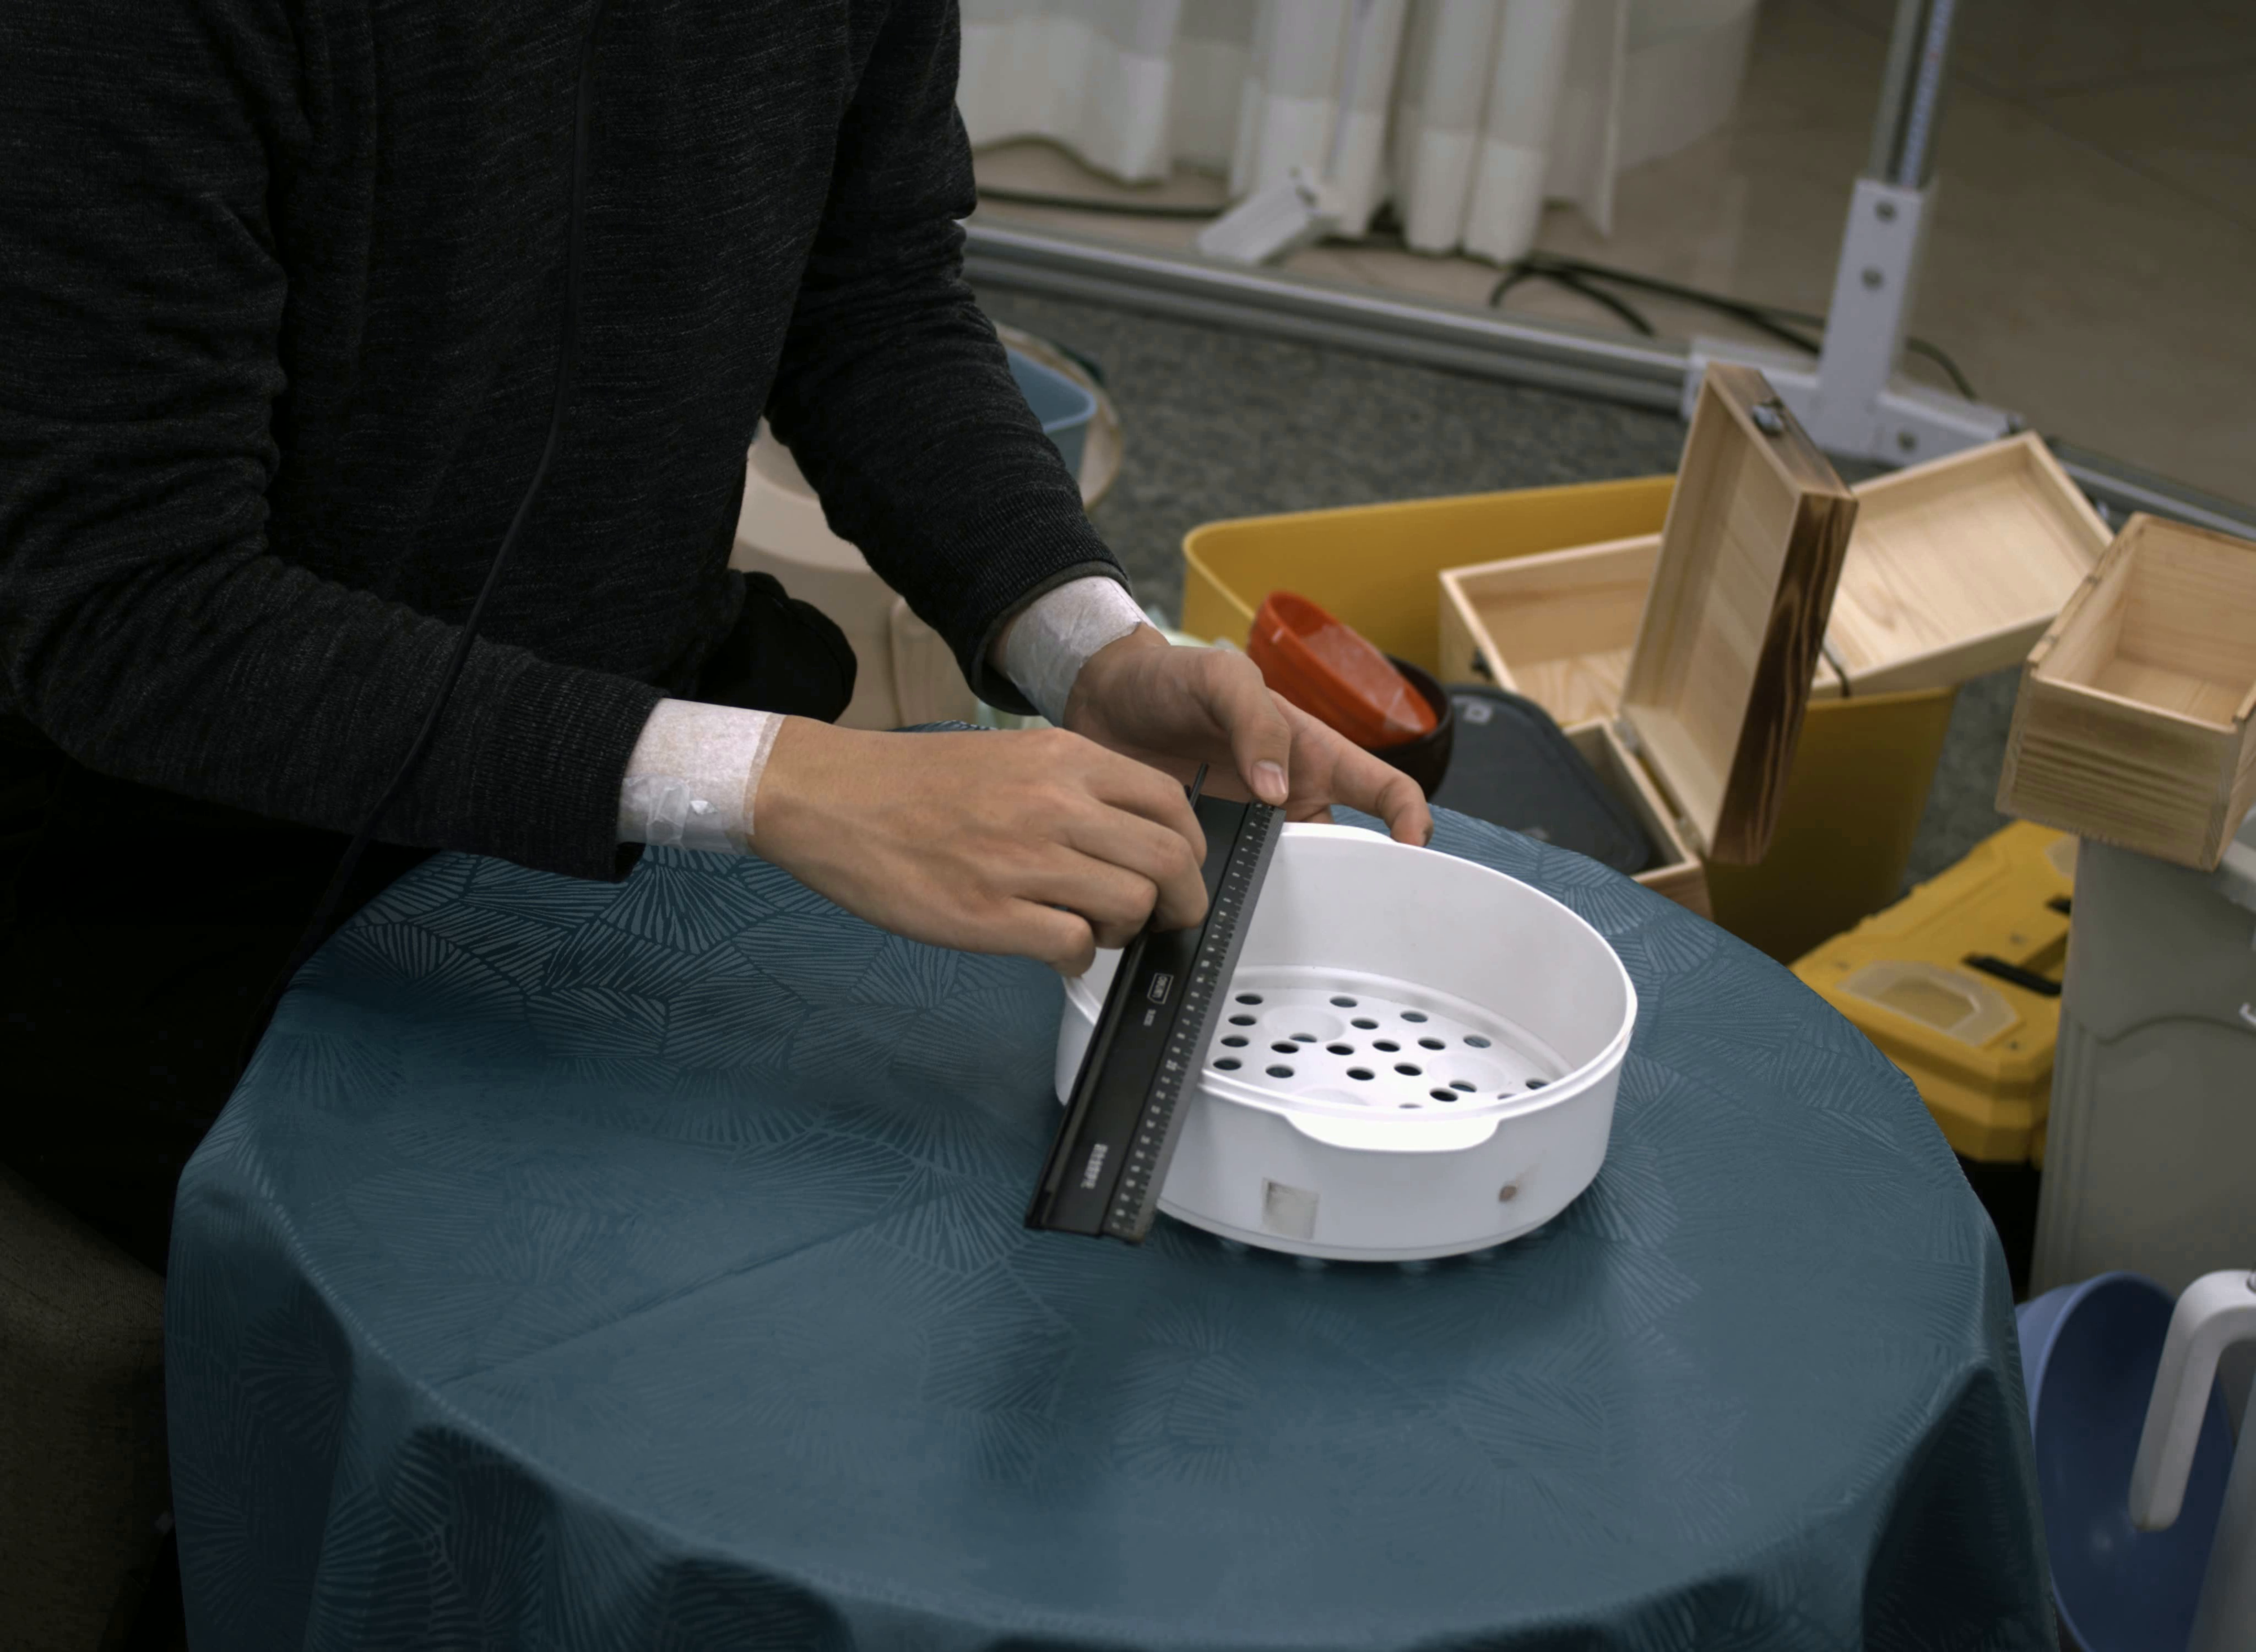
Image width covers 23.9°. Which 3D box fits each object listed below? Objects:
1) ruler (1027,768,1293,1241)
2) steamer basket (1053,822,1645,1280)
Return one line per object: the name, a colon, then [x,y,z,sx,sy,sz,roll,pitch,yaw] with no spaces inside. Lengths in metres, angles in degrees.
ruler: [0.014,0.054,1.778,0.039,0.017,0.313,10,27,7]
steamer basket: [0.074,0.079,1.830,0.201,0.069,0.232,2,29,-8]
